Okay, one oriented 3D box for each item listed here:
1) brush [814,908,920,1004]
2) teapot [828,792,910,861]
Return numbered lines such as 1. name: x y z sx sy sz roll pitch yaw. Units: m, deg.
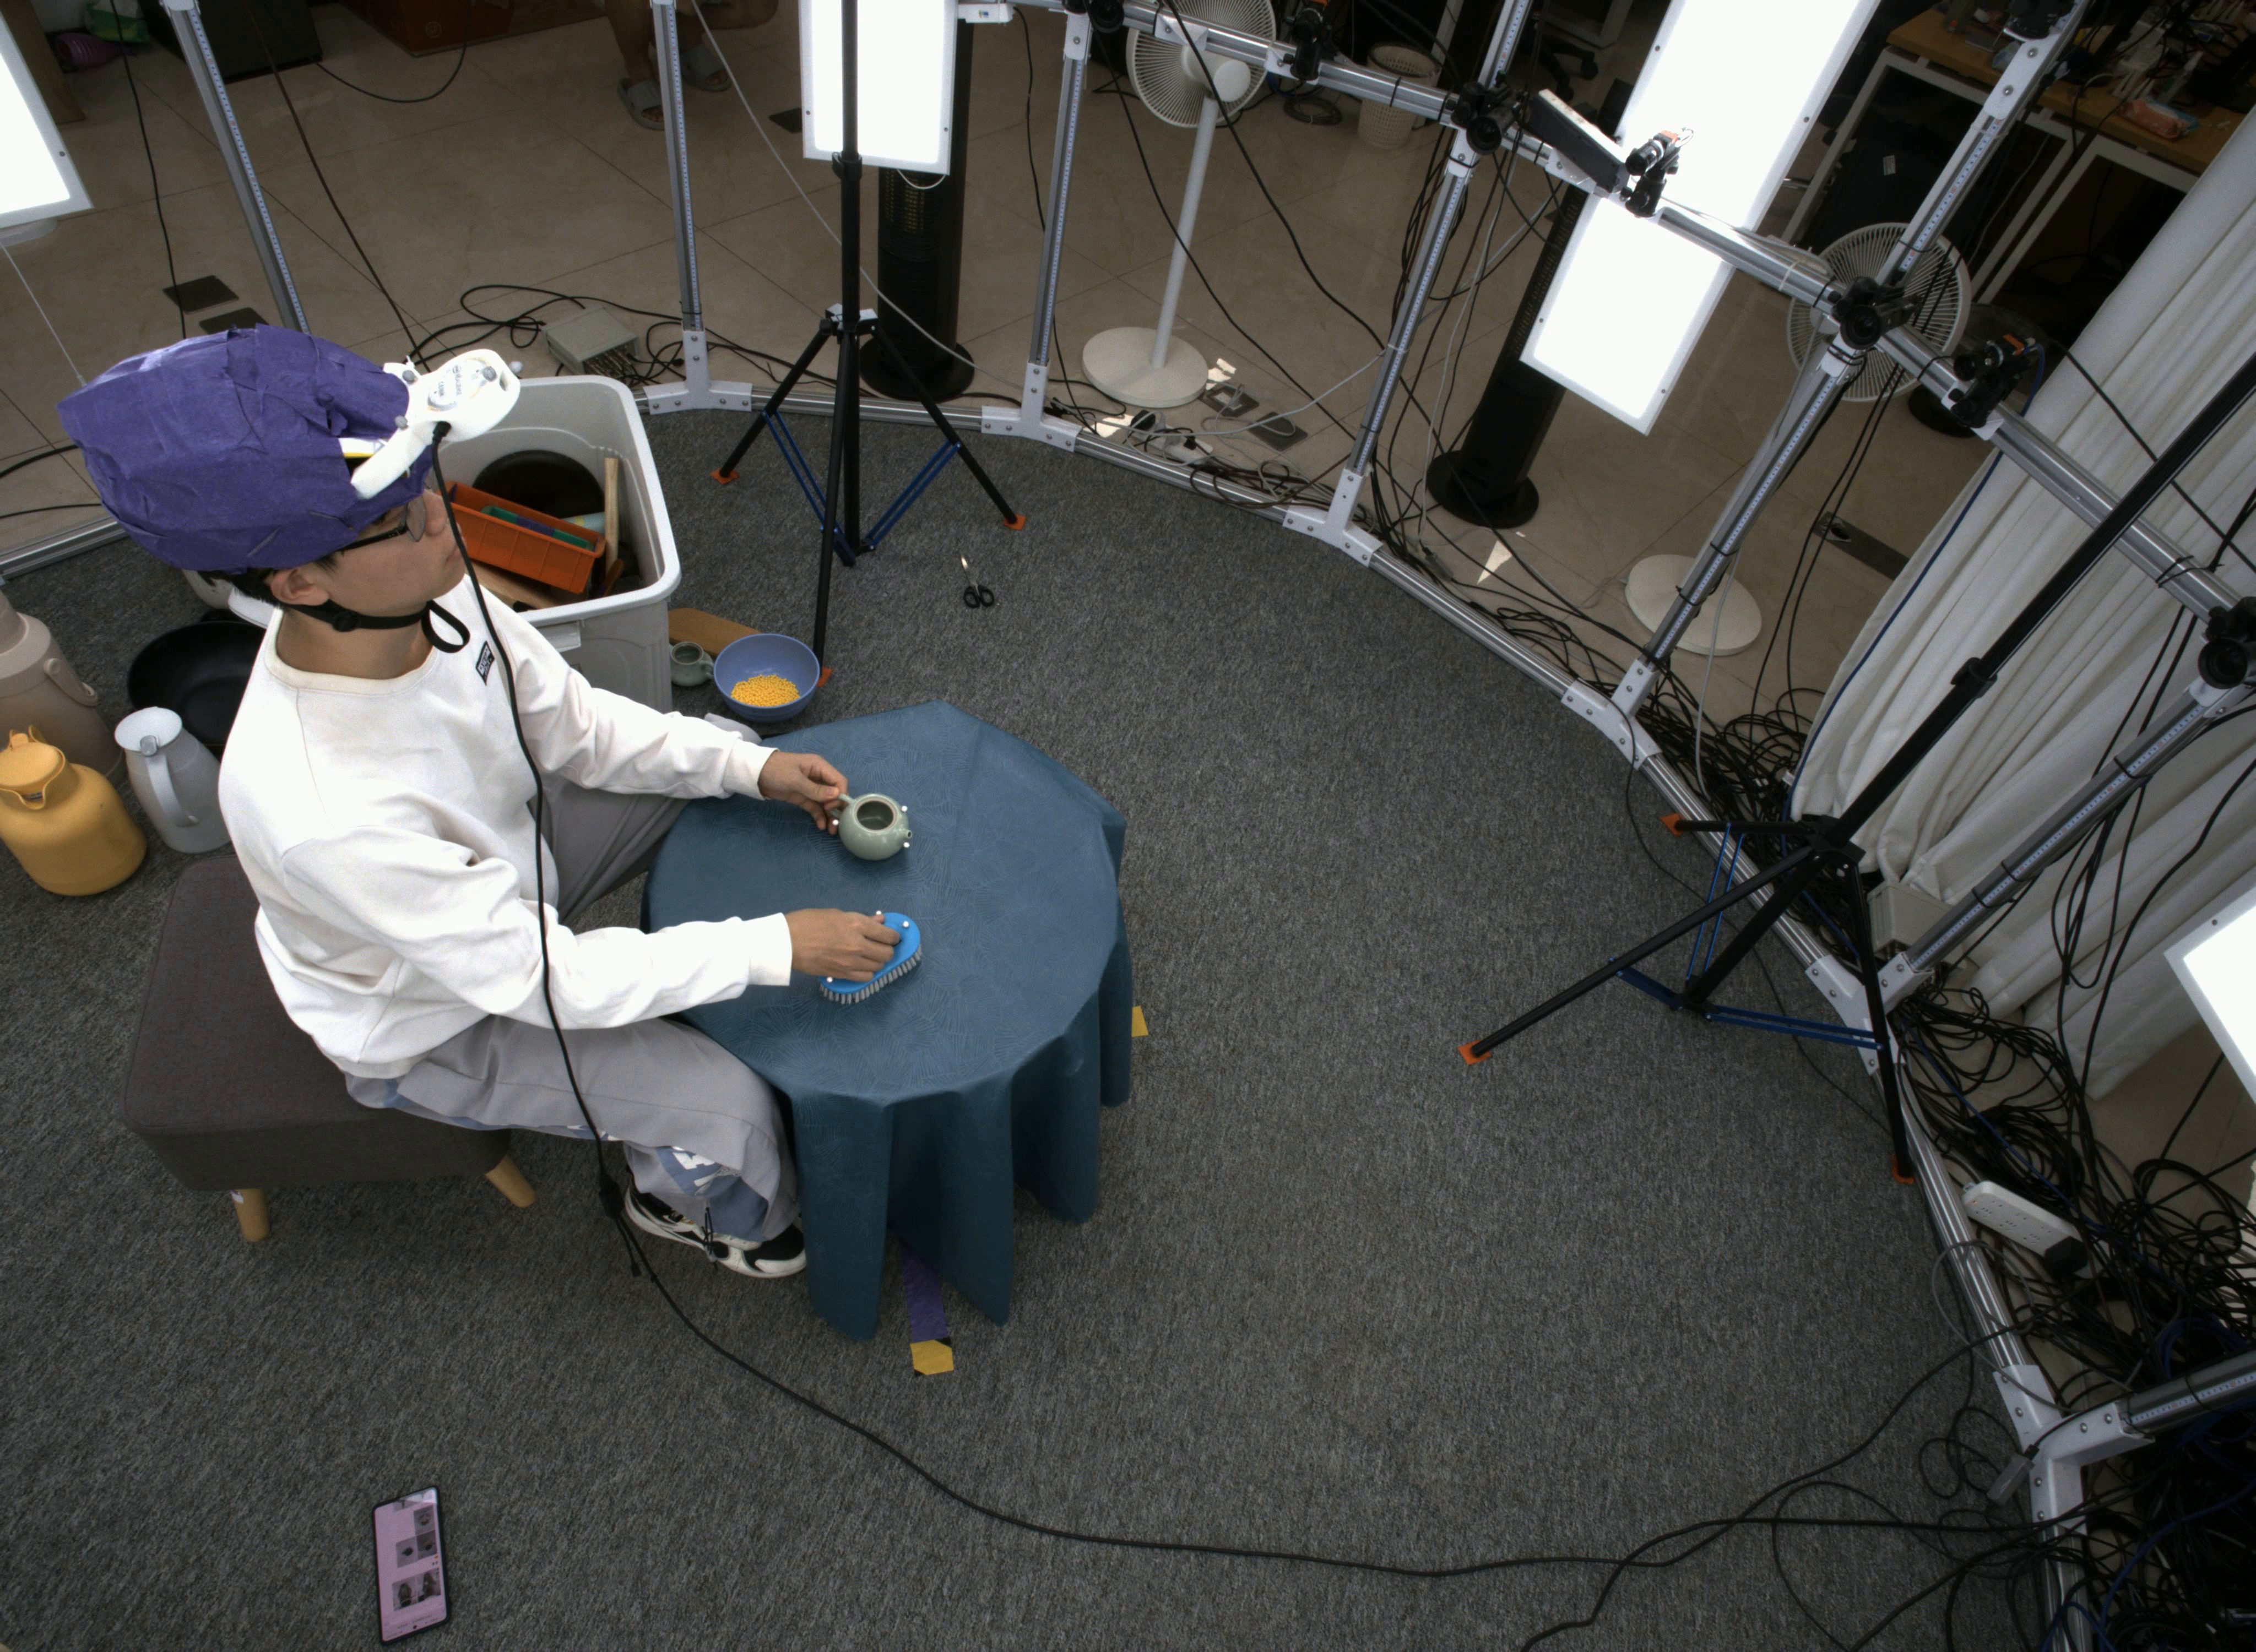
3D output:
1. brush: -0.319 0.153 1.597 0.142 0.065 0.083 -33 70 -25
2. teapot: -0.343 -0.004 1.715 0.127 0.062 0.091 32 55 6
